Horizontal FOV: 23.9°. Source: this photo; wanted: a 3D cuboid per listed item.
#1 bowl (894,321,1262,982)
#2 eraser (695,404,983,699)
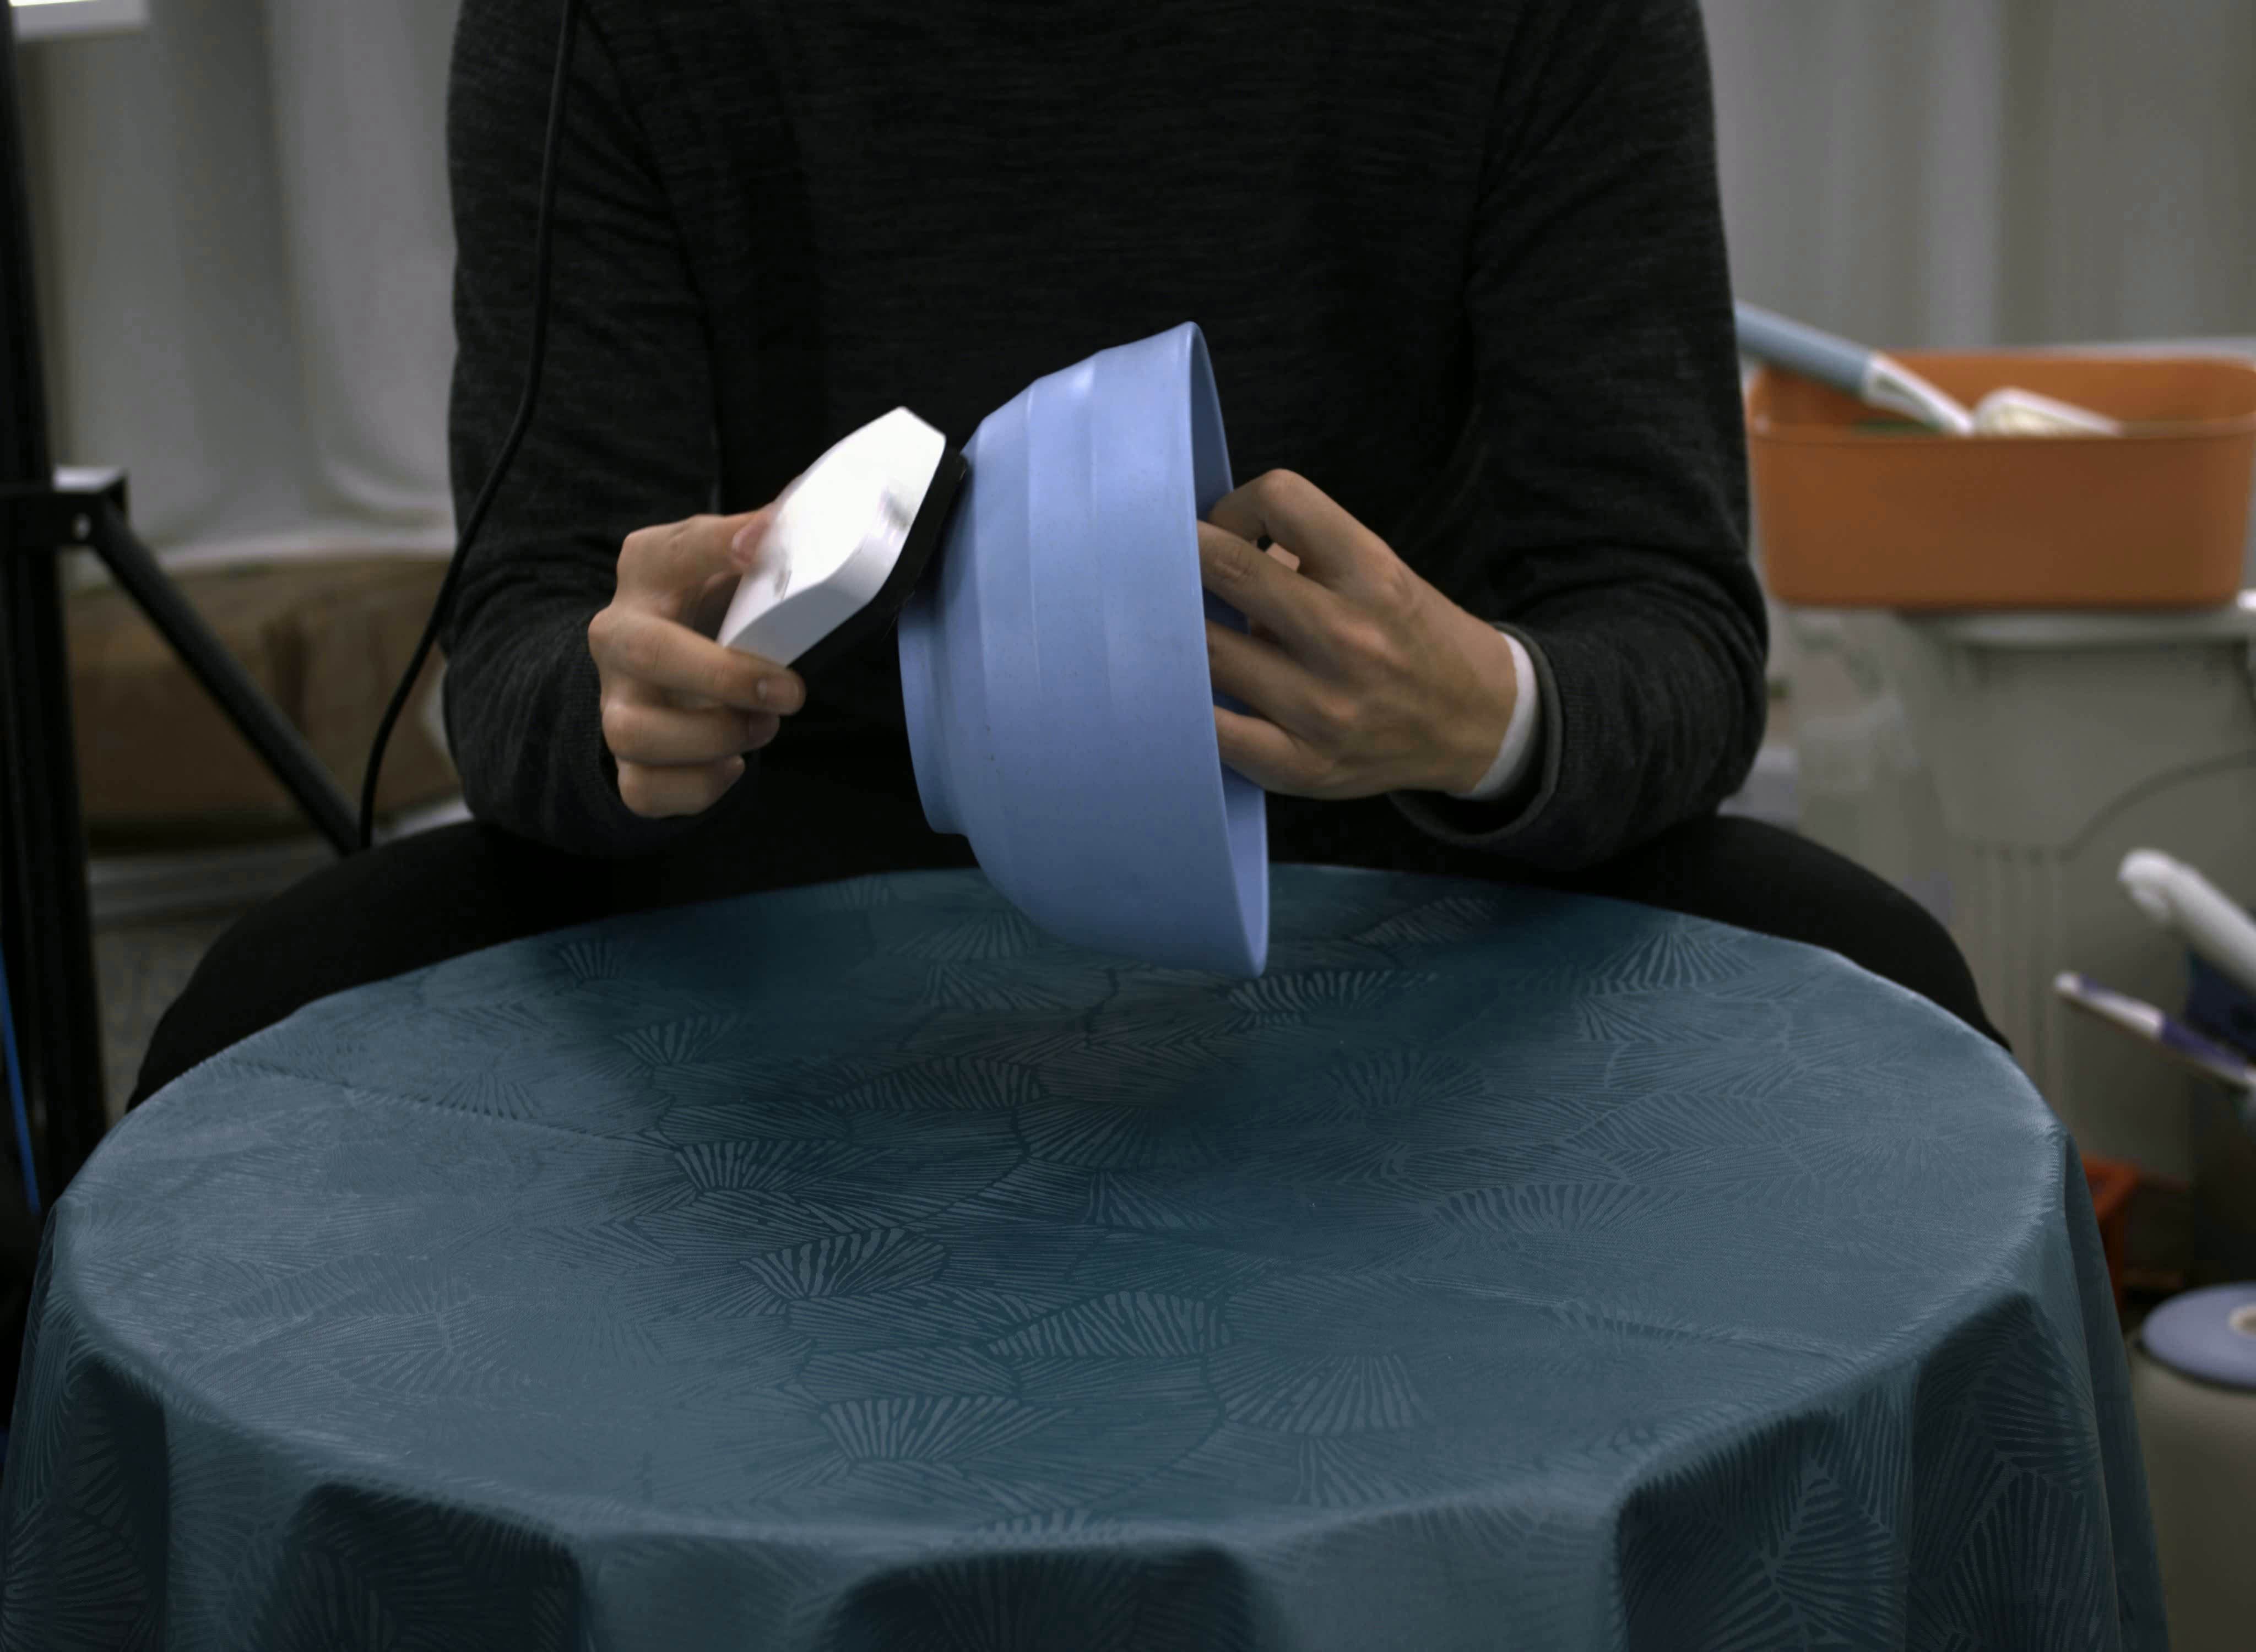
[{"bbox_3d":[-0.017,-0.047,1.590,0.095,0.196,0.196,-5,15,5],"label":"bowl"},{"bbox_3d":[-0.088,-0.082,1.587,0.034,0.063,0.133,32,-25,-15],"label":"eraser"}]
